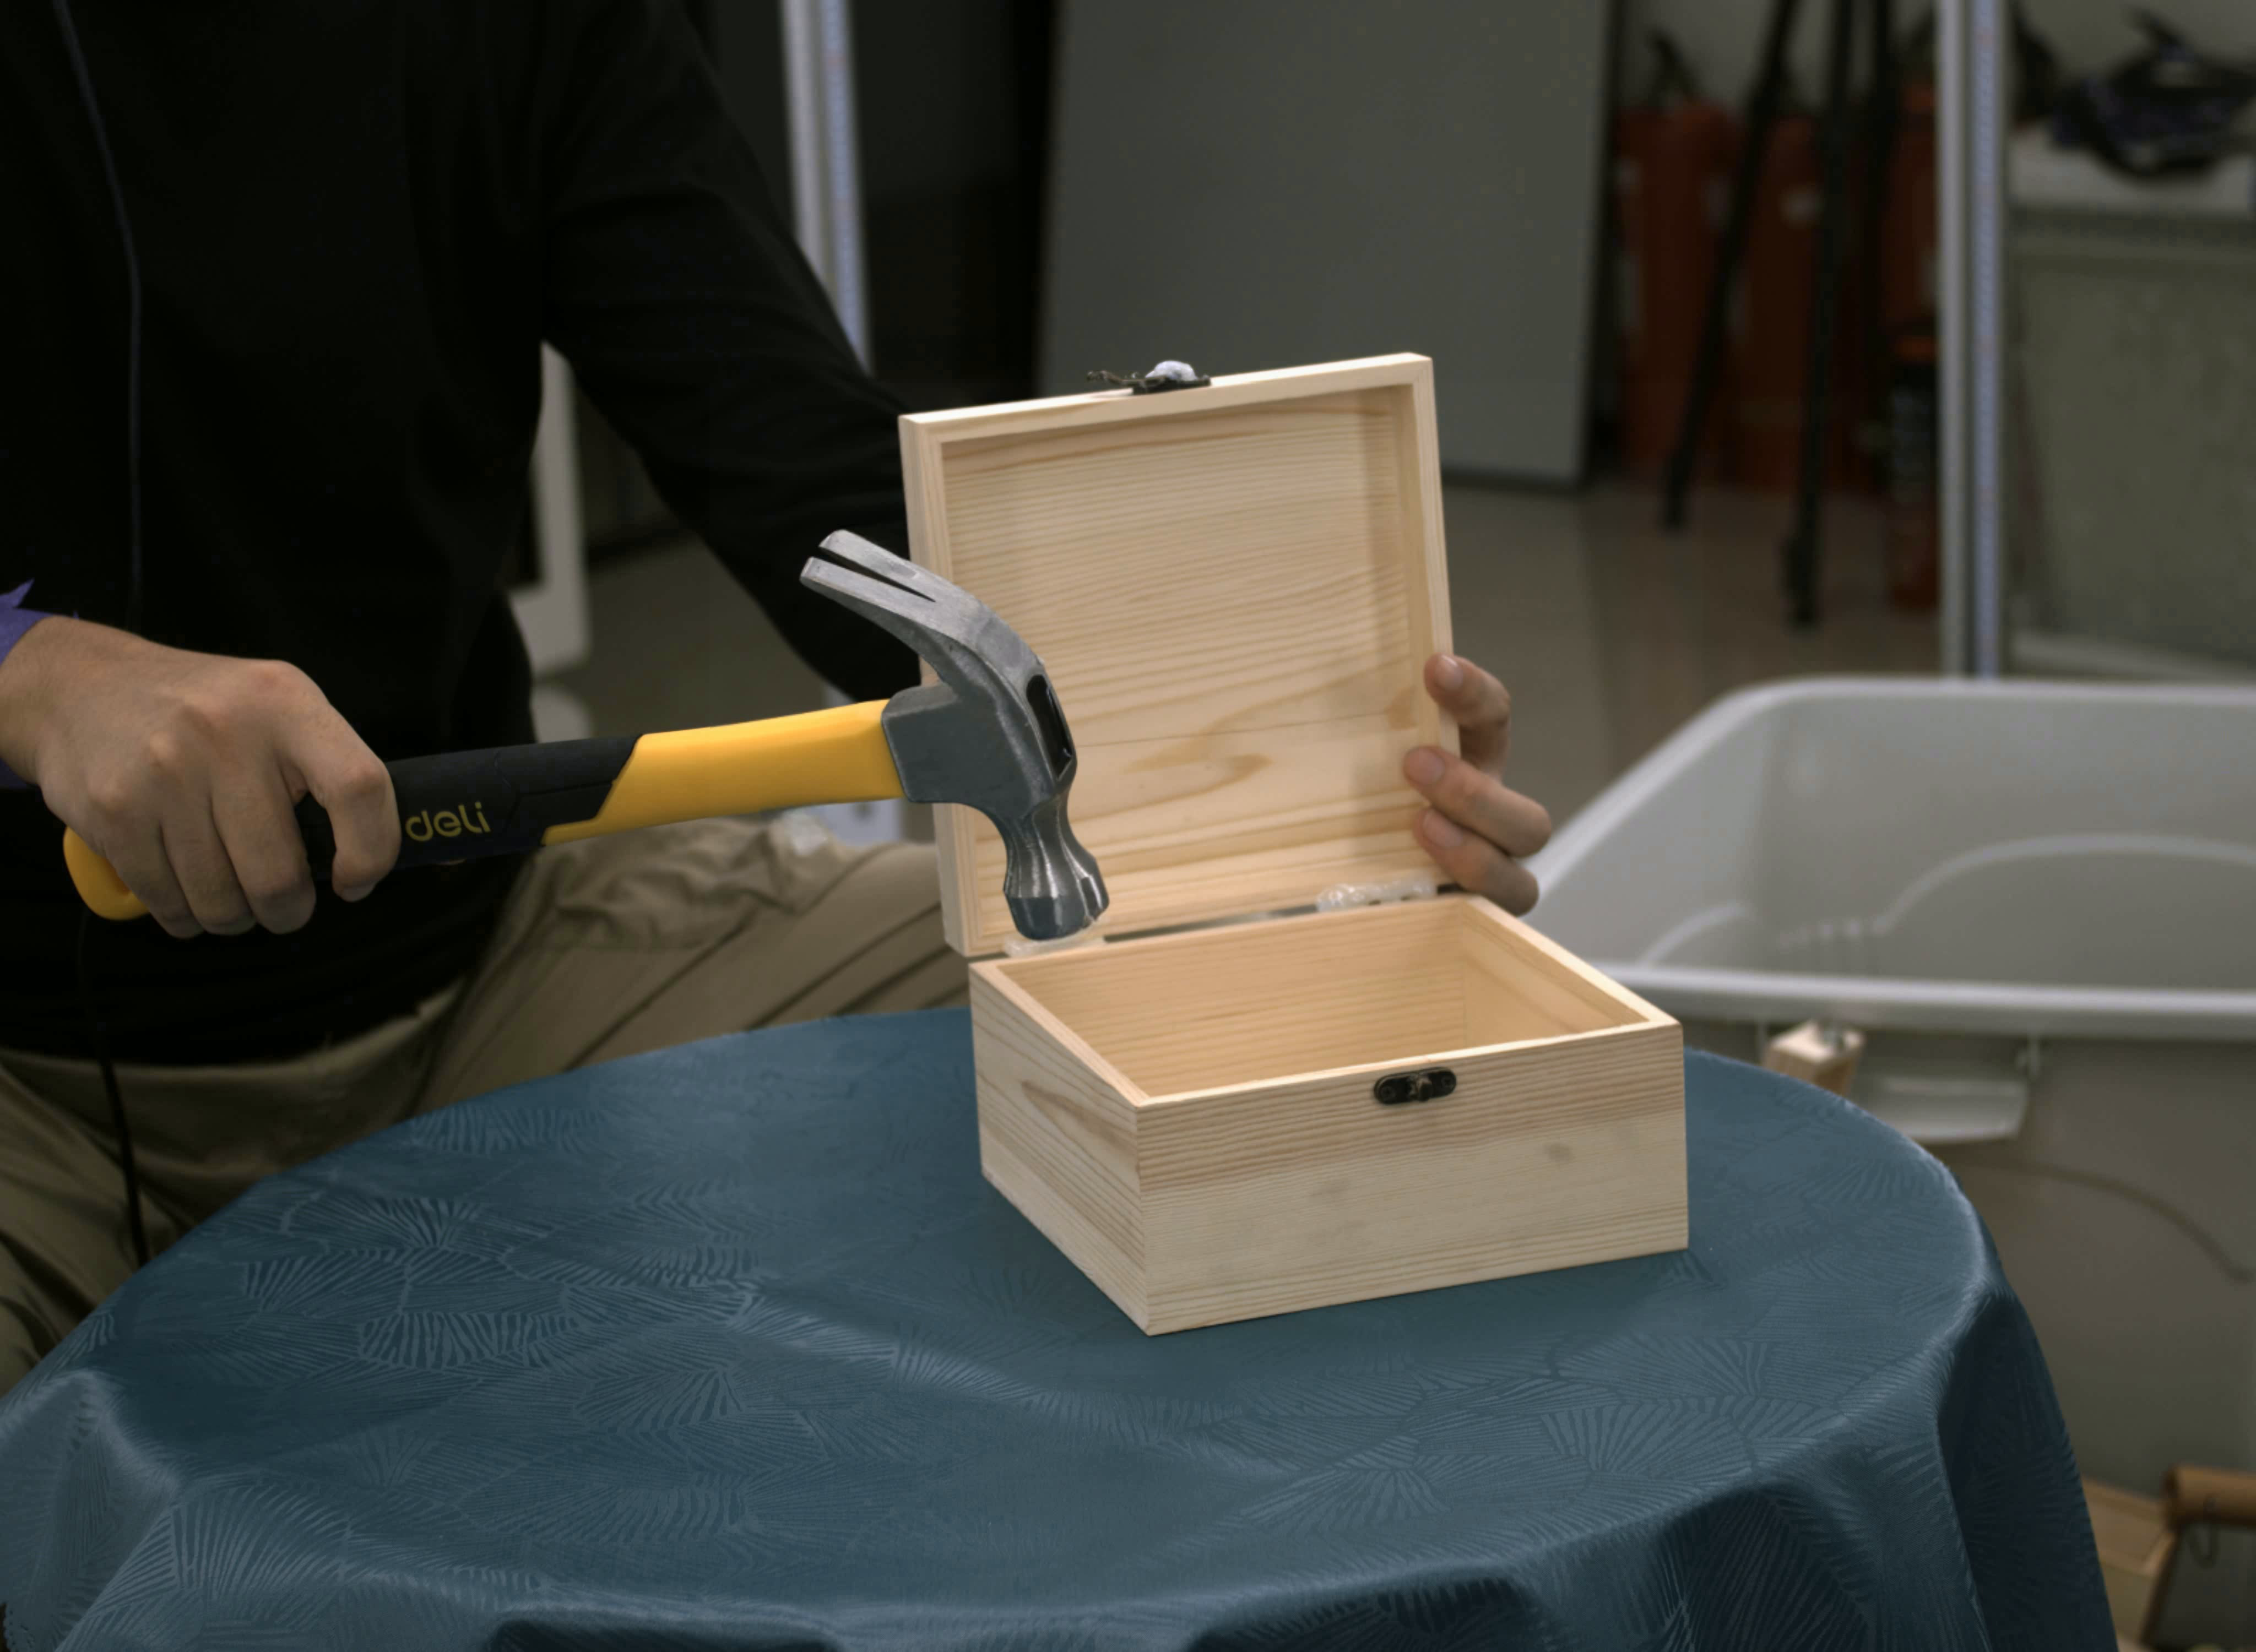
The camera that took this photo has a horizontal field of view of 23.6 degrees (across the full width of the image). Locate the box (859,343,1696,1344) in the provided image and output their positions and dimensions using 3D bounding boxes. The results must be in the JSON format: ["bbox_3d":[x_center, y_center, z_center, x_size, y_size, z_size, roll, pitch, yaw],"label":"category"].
[{"bbox_3d":[0.045,-0.004,1.742,0.178,0.256,0.267,-10,15,-16],"label":"box"}]

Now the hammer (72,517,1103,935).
[{"bbox_3d":[-0.177,-0.011,1.666,0.339,0.132,0.032,-9,23,24],"label":"hammer"}]
